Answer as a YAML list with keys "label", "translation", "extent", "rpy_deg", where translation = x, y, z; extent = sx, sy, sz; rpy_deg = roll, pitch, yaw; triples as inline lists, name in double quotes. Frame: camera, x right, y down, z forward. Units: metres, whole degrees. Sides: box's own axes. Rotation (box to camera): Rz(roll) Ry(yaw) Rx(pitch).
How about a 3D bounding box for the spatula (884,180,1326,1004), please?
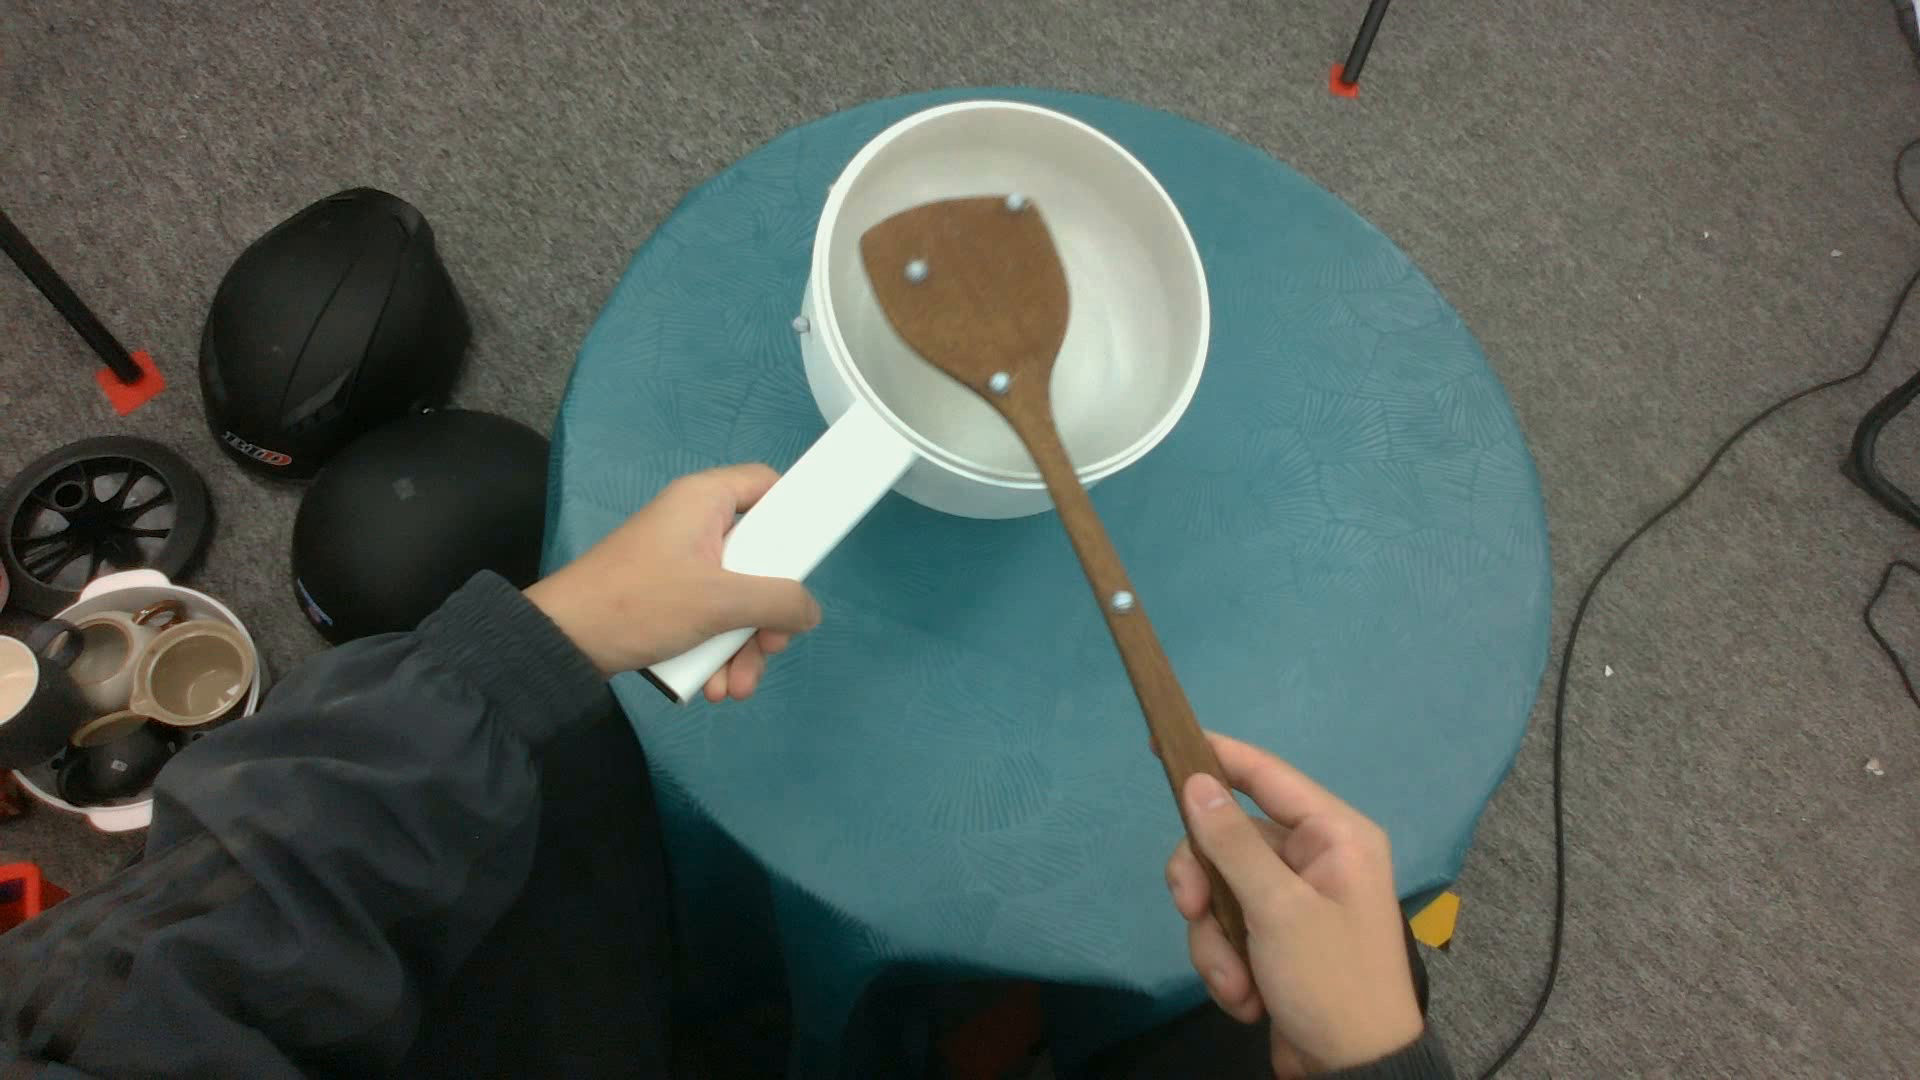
- label: "spatula"
  translation: [0.069, 0.008, 0.592]
  extent: [0.096, 0.016, 0.386]
  rpy_deg: [-16, 73, -20]

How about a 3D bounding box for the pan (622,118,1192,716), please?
- label: "pan"
  translation: [-0.034, -0.053, 0.700]
  extent: [0.201, 0.102, 0.356]
  rpy_deg: [39, 70, 0]
